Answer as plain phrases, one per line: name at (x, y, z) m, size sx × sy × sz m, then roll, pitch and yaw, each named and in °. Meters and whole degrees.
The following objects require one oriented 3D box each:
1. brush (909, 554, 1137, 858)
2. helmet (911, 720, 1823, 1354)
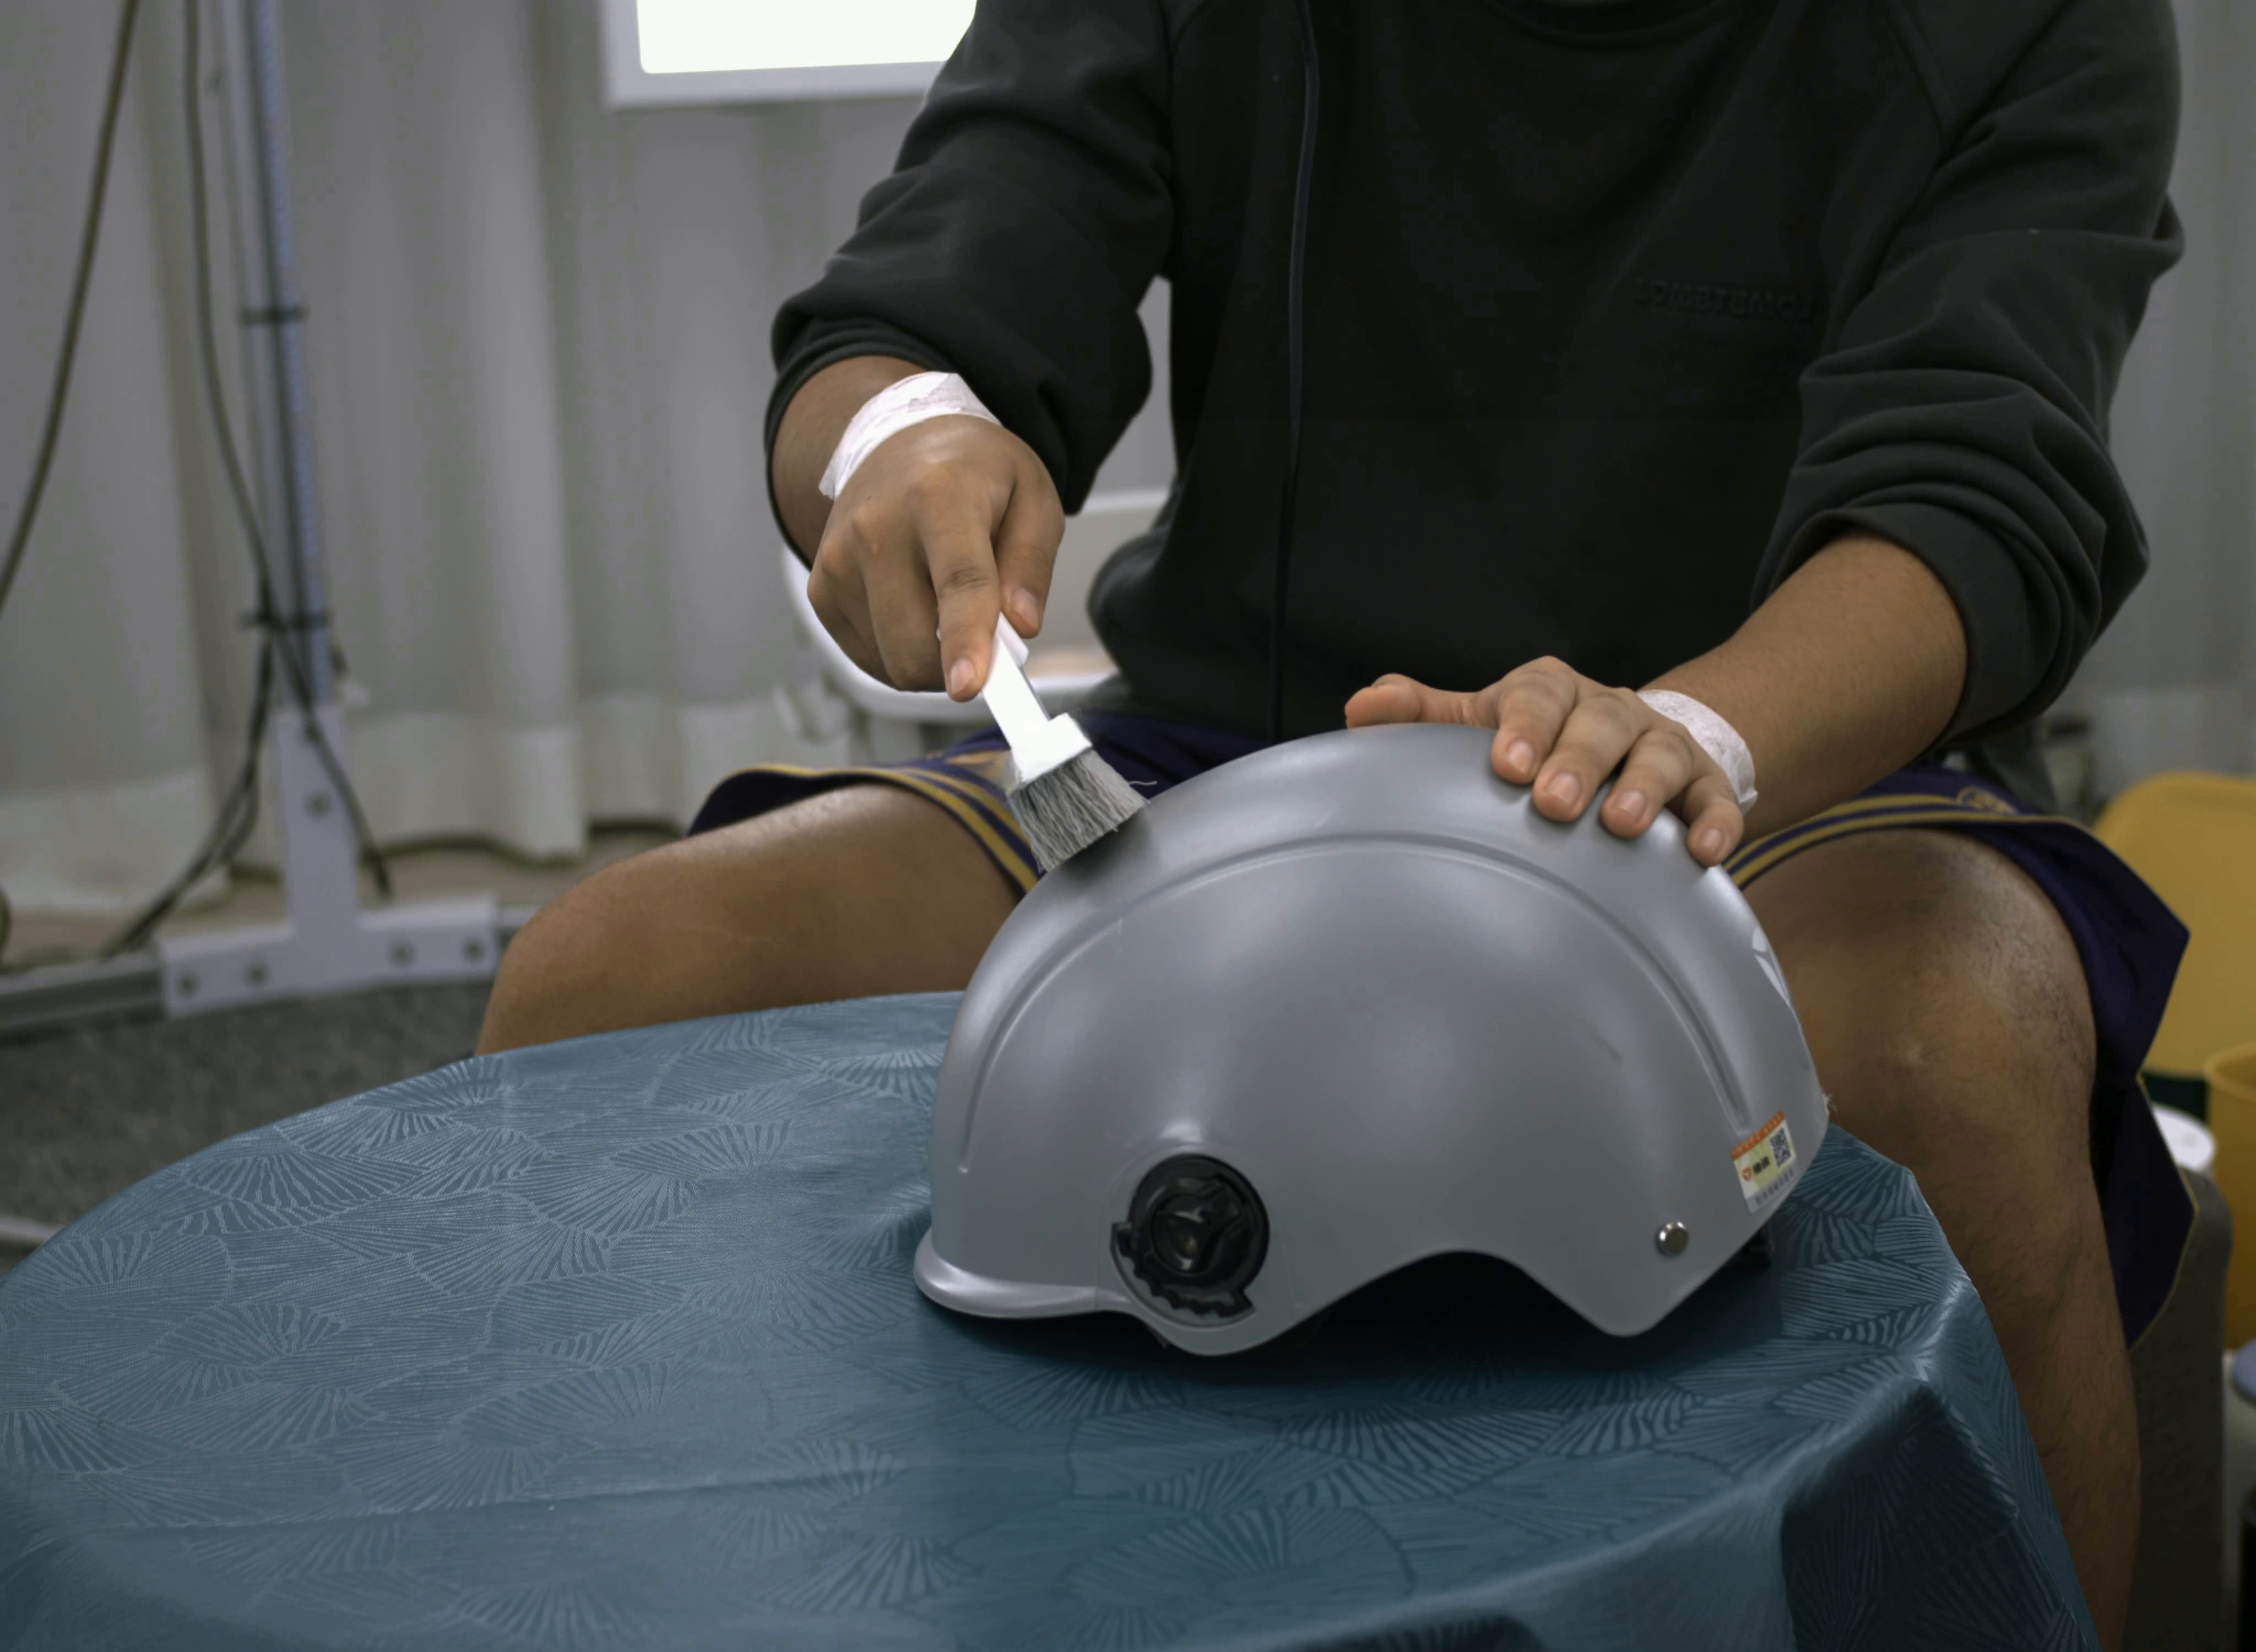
brush at (-0.034, -0.037, 1.698) m, size 0.034 × 0.050 × 0.245 m, roll -35°, pitch 17°, yaw 2°
helmet at (0.066, 0.054, 1.624) m, size 0.276 × 0.168 × 0.233 m, roll -1°, pitch 13°, yaw 11°
